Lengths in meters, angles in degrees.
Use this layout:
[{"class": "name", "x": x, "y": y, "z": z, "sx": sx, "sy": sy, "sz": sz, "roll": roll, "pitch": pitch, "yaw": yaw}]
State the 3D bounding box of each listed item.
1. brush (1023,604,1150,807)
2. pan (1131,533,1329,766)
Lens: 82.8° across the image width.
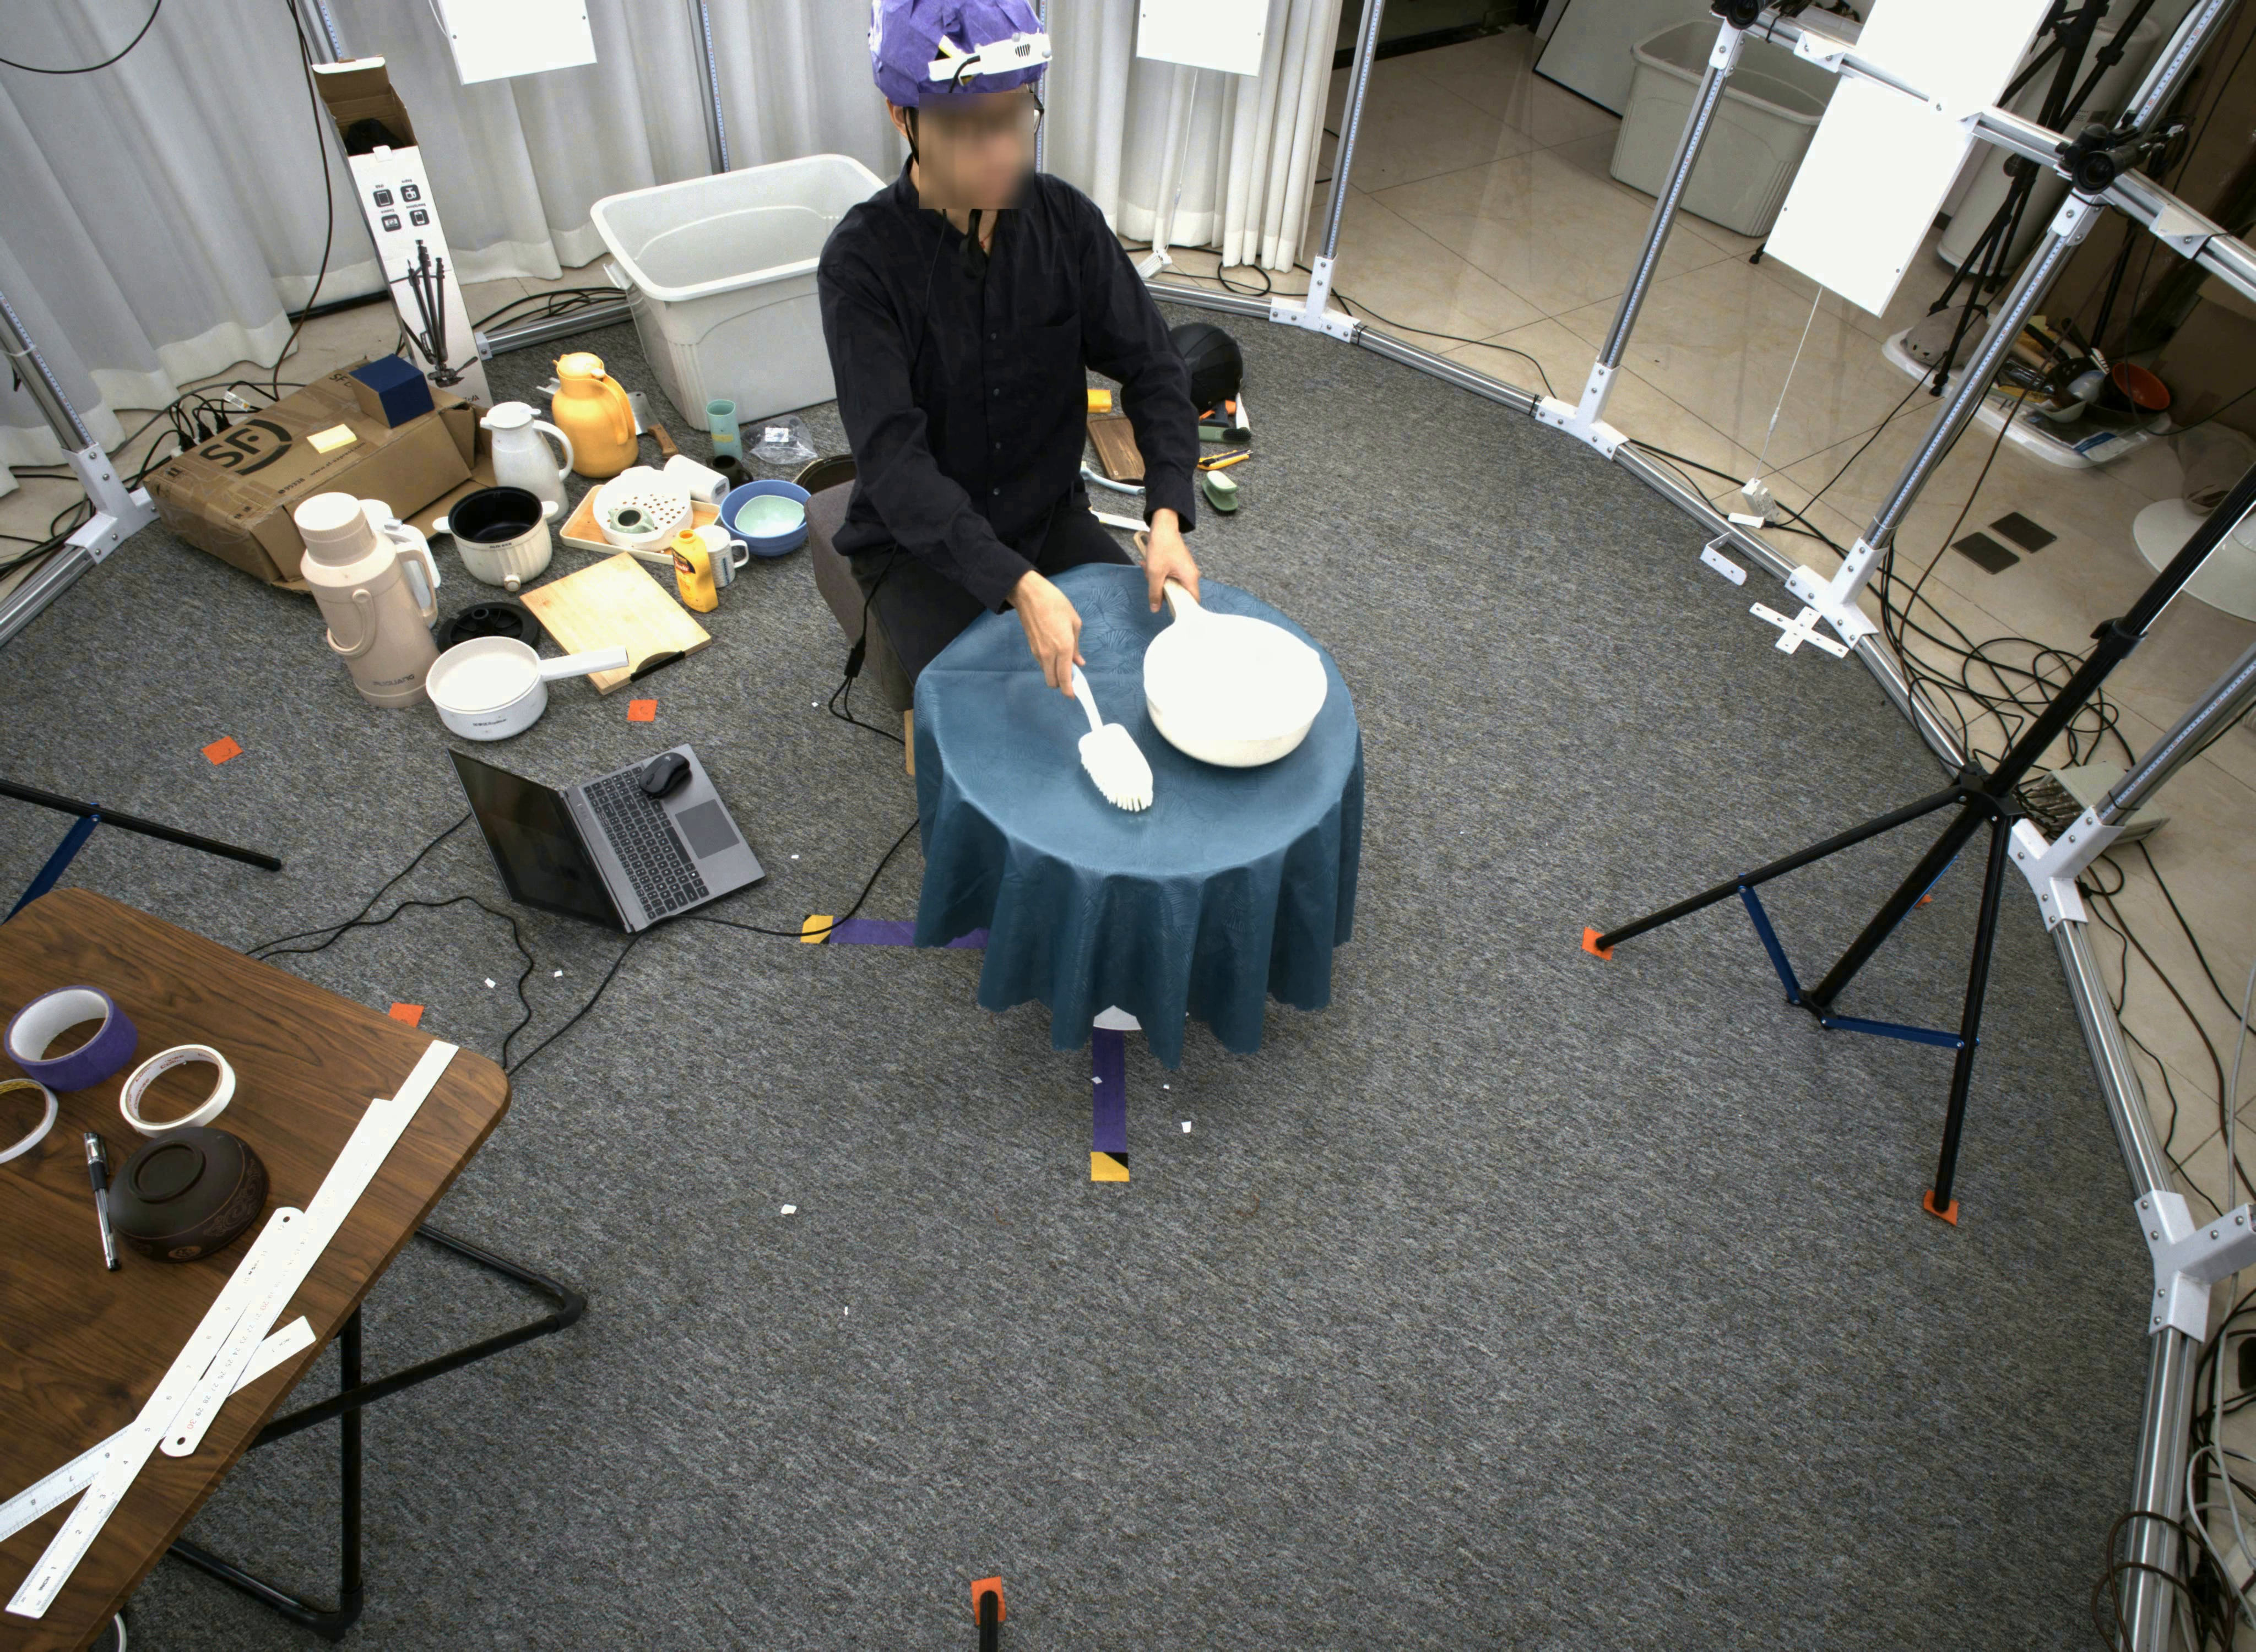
[{"class": "brush", "x": -0.058, "y": -0.161, "z": 1.744, "sx": 0.083, "sy": 0.083, "sz": 0.330, "roll": -4, "pitch": 57, "yaw": -51}, {"class": "pan", "x": 0.108, "y": -0.253, "z": 1.830, "sx": 0.264, "sy": 0.099, "sz": 0.445, "roll": -17, "pitch": 51, "yaw": -19}]
